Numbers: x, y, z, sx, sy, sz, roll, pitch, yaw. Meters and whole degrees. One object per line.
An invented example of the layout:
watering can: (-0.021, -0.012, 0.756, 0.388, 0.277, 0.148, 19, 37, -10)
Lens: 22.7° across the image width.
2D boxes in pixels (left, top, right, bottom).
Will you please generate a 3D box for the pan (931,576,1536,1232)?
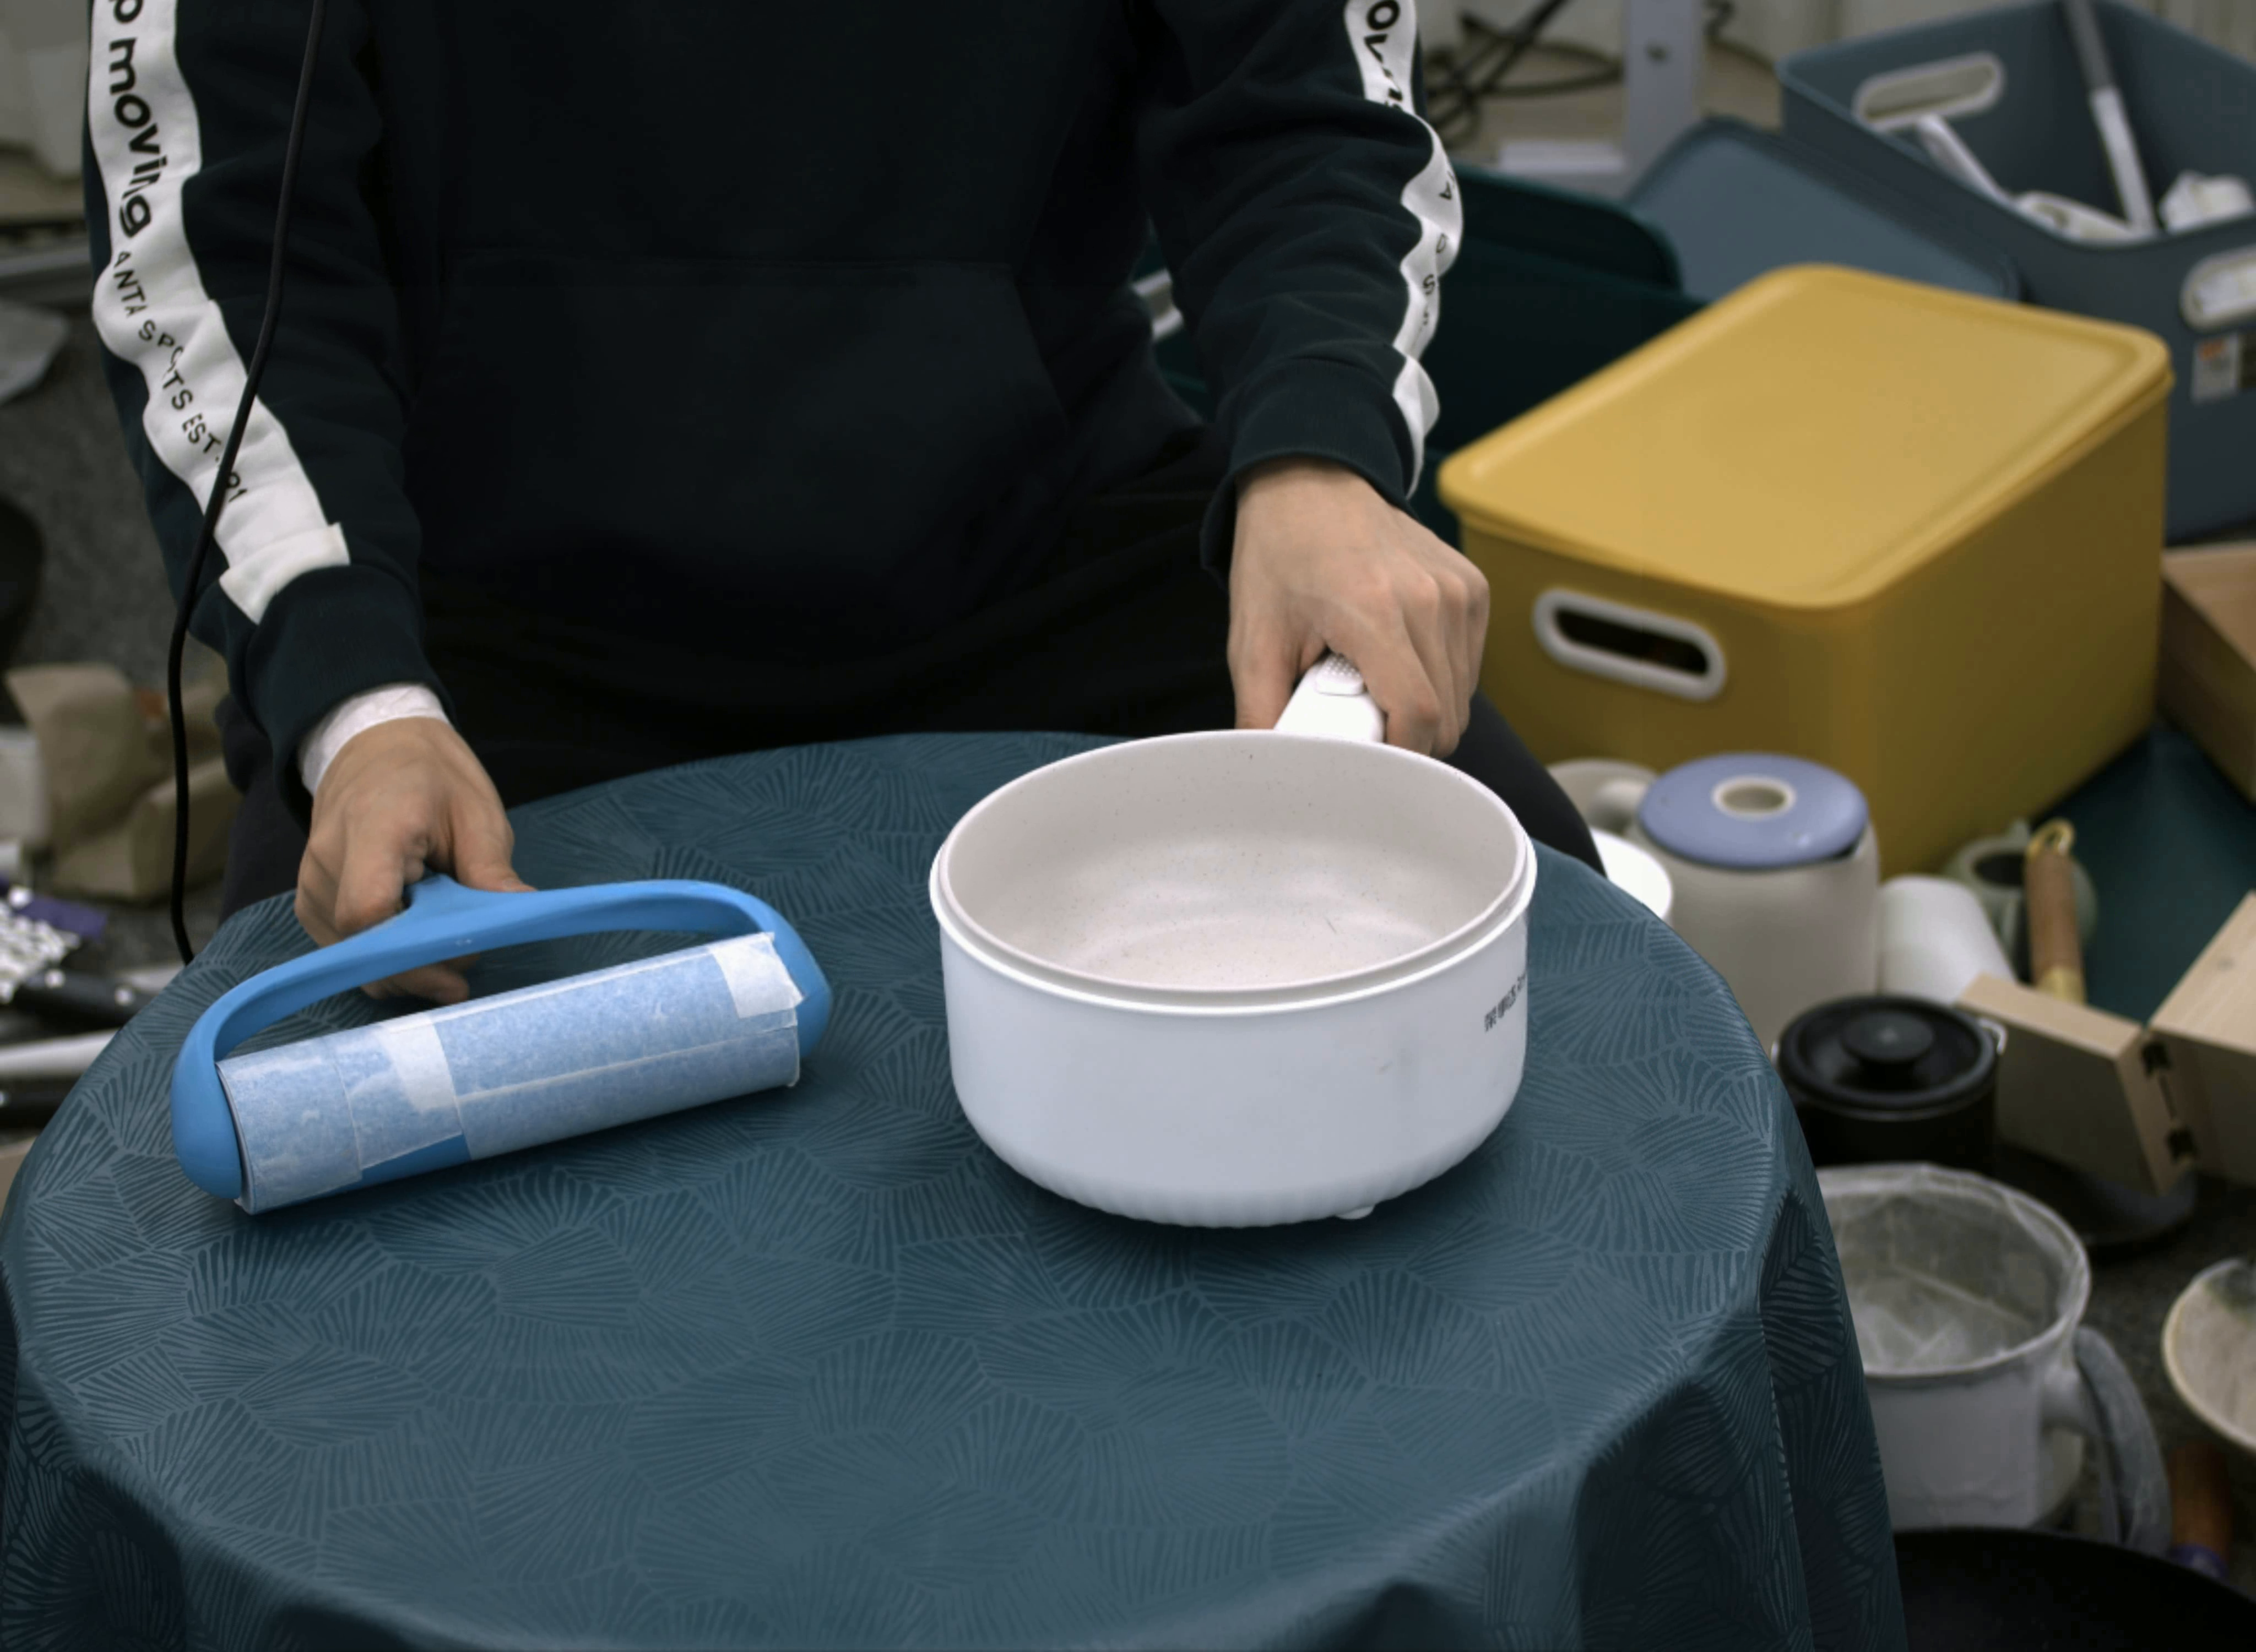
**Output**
pan: (0.058, 0.024, 1.941, 0.200, 0.101, 0.360, 4, 25, 16)

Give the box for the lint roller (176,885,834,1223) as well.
lint roller: (-0.233, 0.057, 1.941, 0.230, 0.067, 0.181, -16, 33, -20)
